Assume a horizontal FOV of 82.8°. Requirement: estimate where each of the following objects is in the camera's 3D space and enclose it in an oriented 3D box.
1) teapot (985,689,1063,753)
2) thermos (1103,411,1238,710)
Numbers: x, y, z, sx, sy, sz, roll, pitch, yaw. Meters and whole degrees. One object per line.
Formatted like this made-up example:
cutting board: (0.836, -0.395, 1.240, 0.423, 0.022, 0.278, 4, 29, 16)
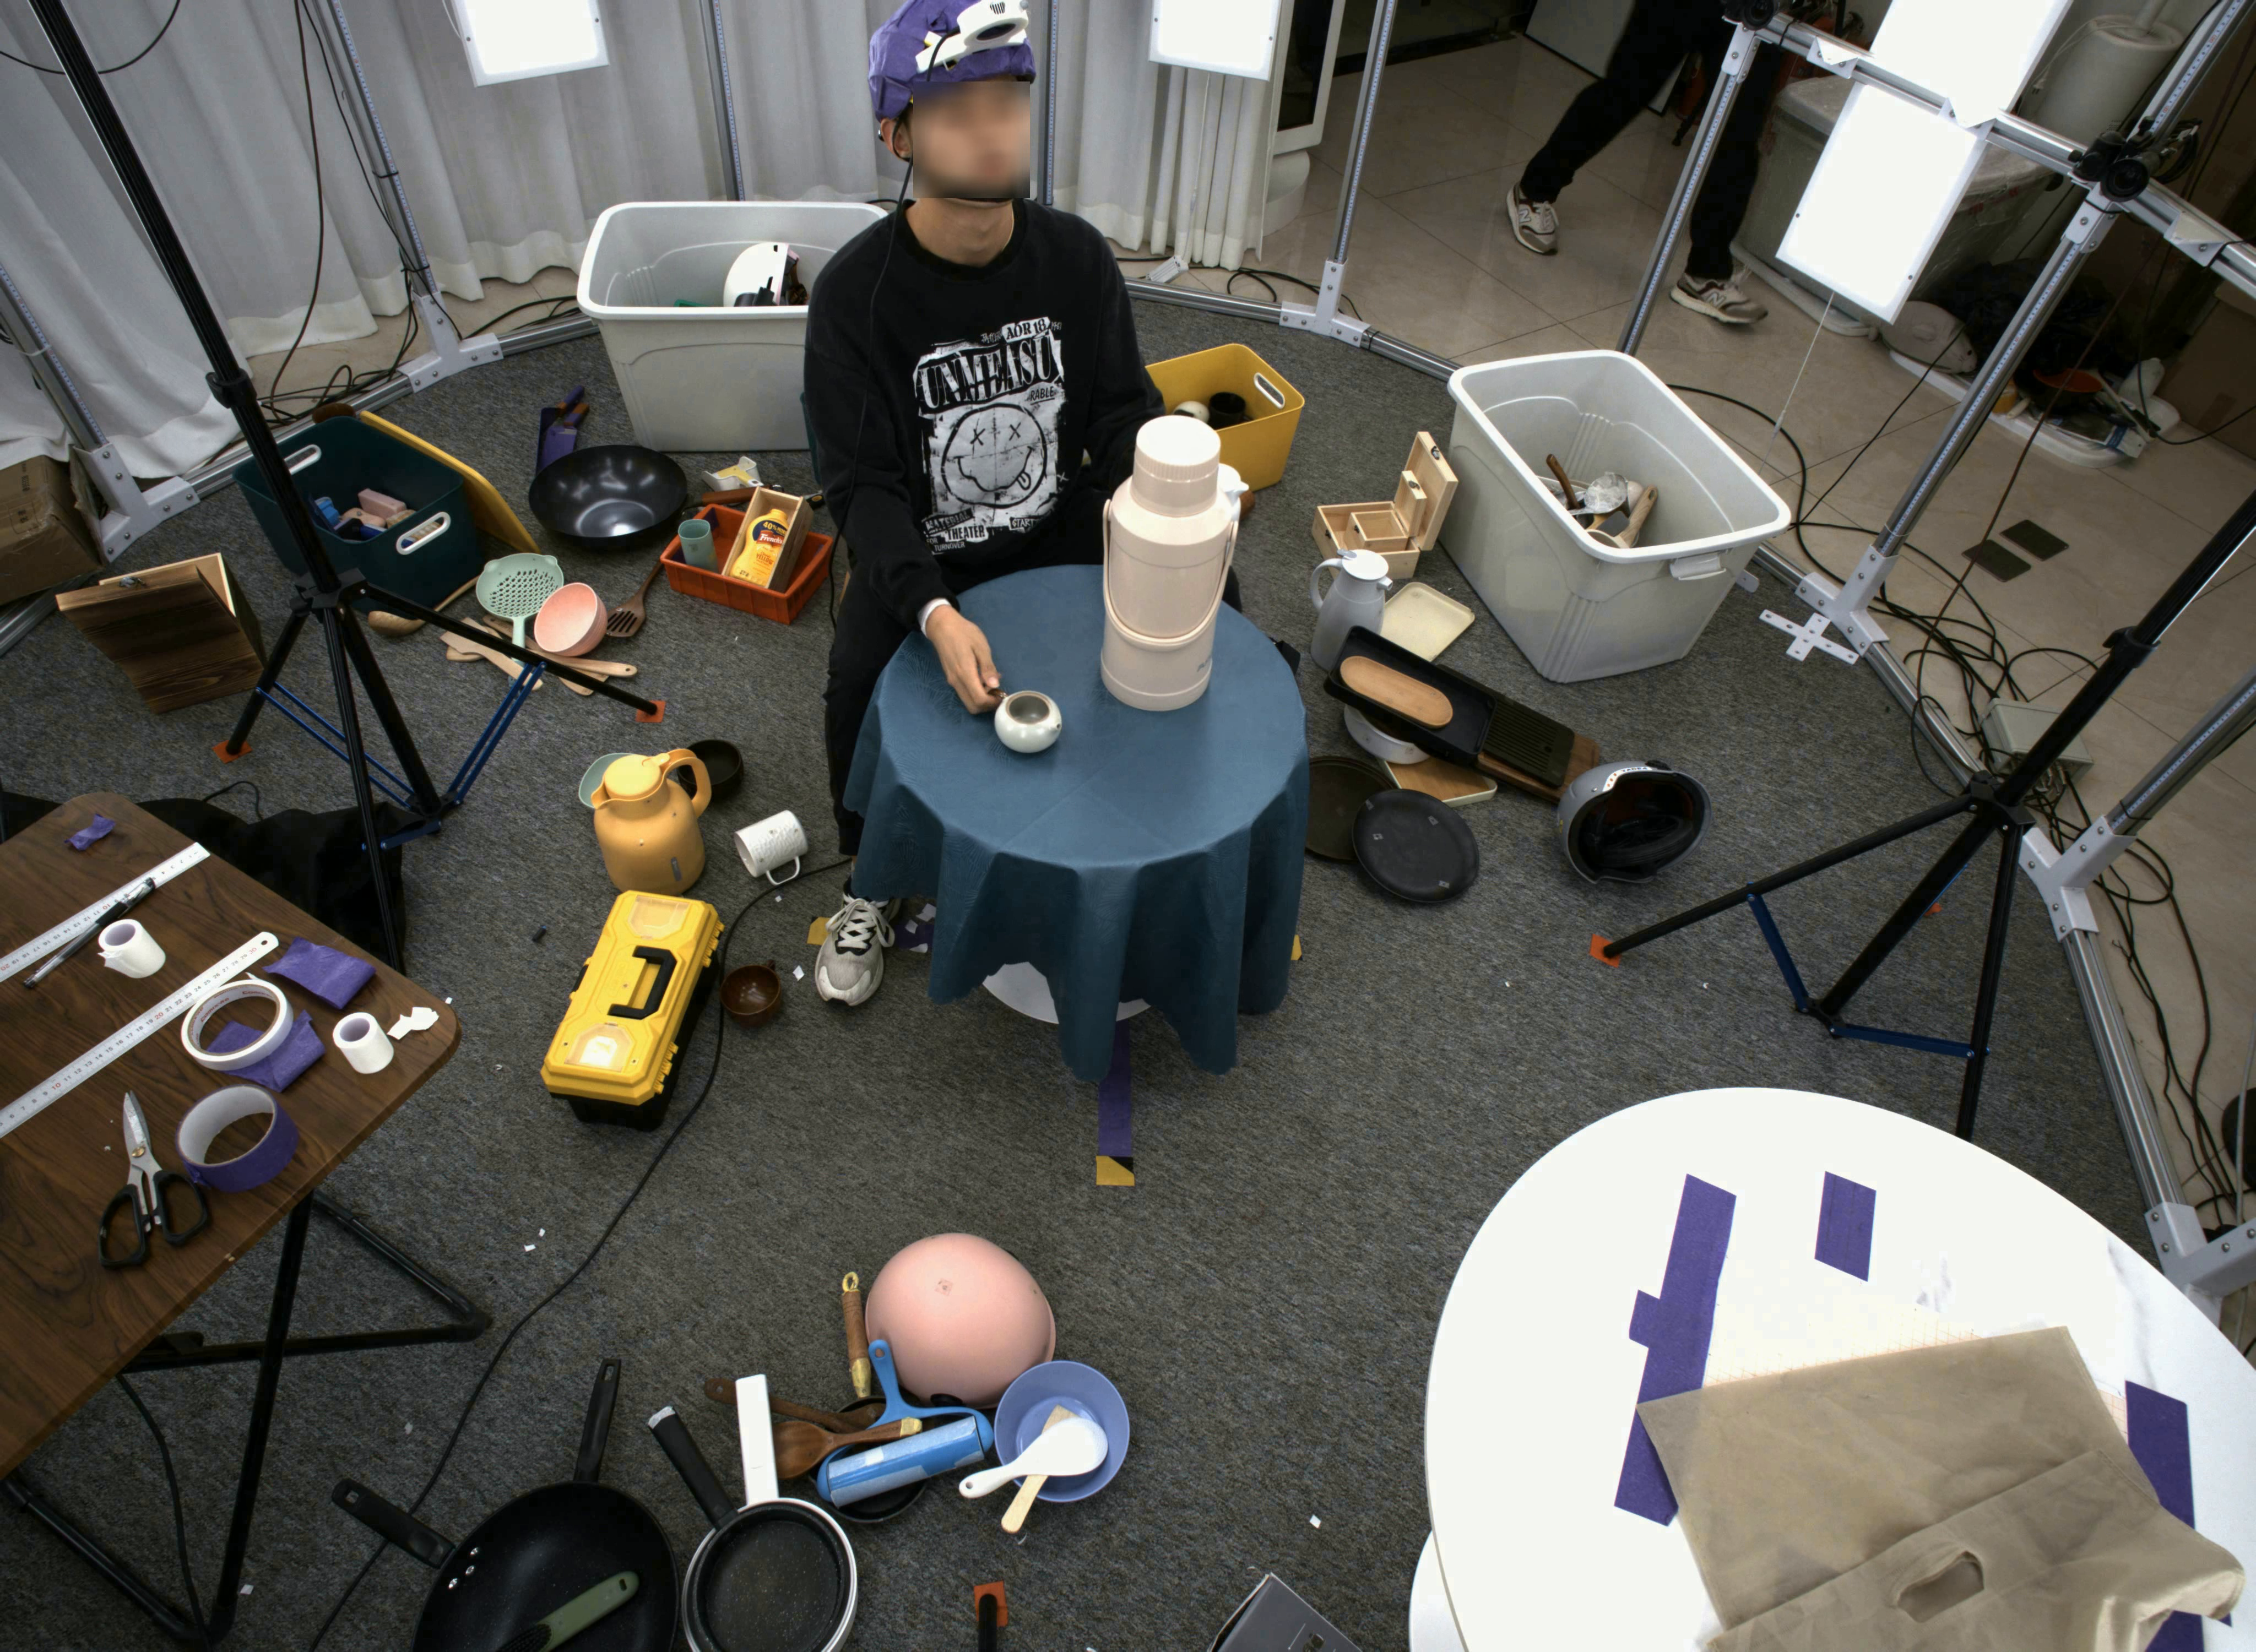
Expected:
teapot: (-0.143, -0.146, 1.750, 0.129, 0.058, 0.093, 30, 56, 19)
thermos: (0.056, -0.359, 1.728, 0.175, 0.396, 0.212, 9, 50, 6)
